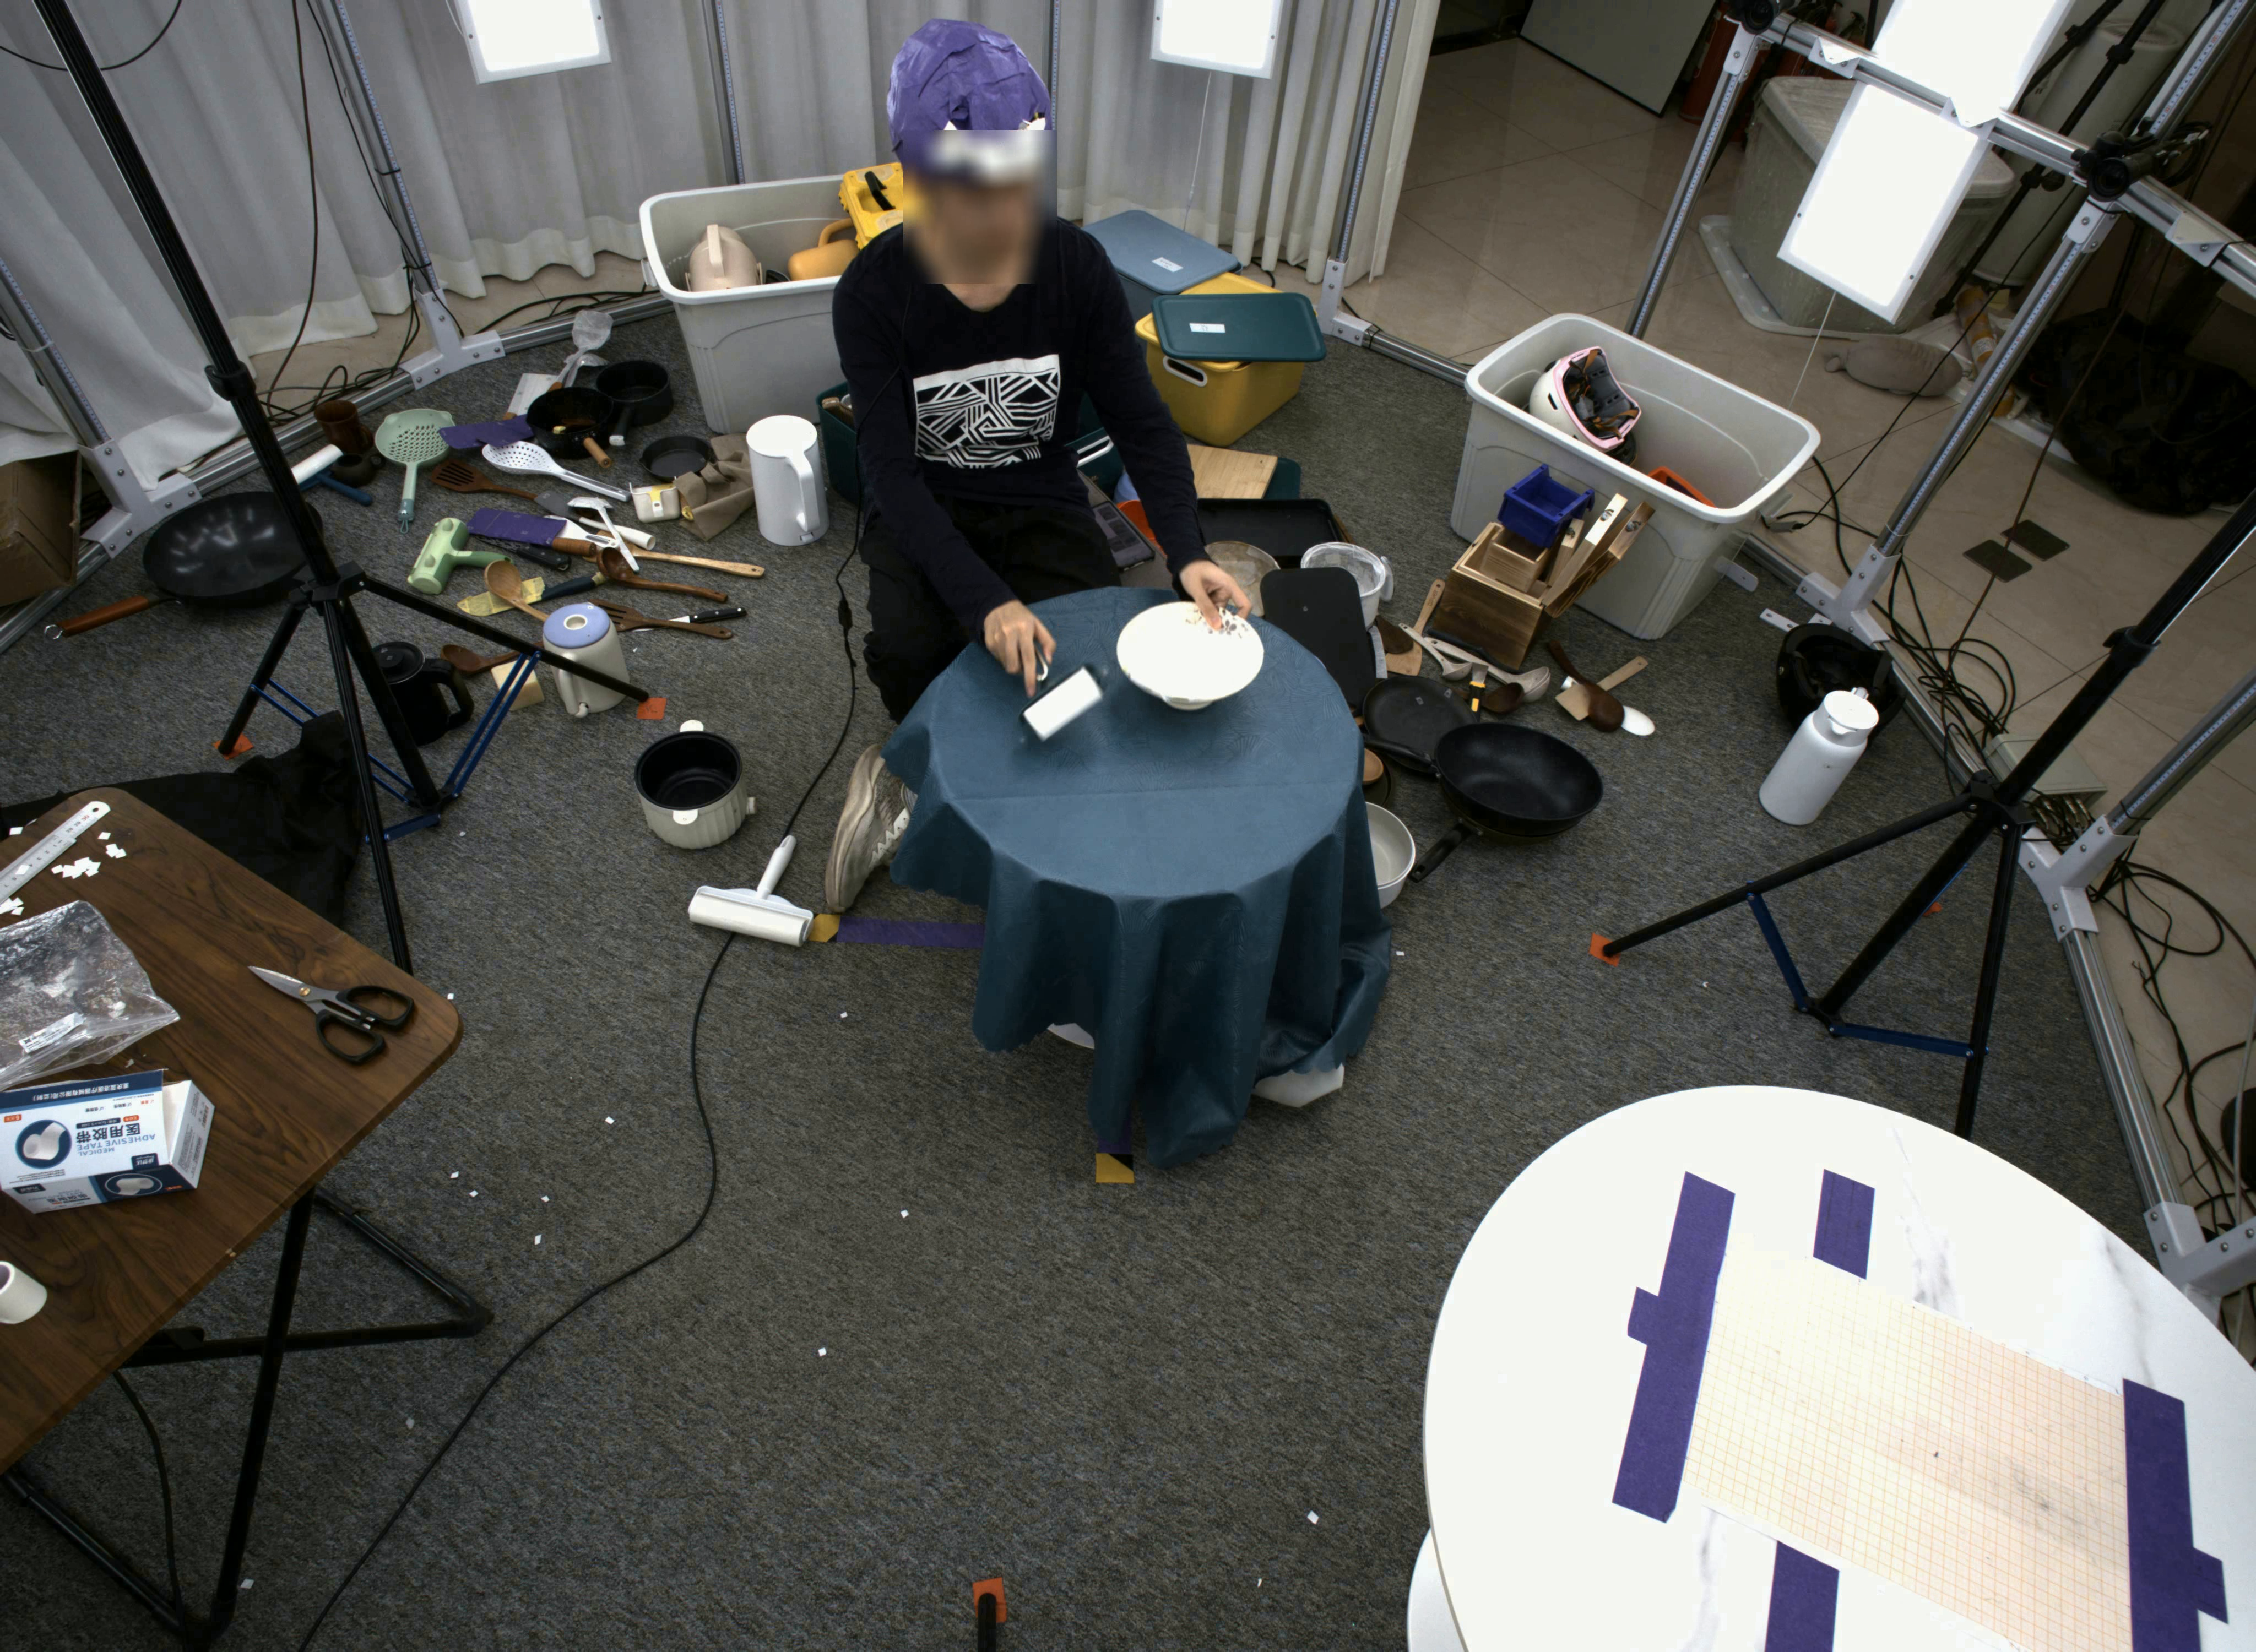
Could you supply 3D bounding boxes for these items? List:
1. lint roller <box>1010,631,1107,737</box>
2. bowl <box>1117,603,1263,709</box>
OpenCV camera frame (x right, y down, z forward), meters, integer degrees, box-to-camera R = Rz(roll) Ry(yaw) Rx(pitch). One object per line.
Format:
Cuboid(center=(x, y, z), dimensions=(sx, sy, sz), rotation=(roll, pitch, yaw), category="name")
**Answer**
Cuboid(center=(-0.119, -0.217, 1.755), dimensions=(0.134, 0.047, 0.183), rotation=(-38, 60, 2), category="lint roller")
Cuboid(center=(0.085, -0.222, 1.805), dimensions=(0.204, 0.076, 0.209), rotation=(1, 45, -1), category="bowl")
